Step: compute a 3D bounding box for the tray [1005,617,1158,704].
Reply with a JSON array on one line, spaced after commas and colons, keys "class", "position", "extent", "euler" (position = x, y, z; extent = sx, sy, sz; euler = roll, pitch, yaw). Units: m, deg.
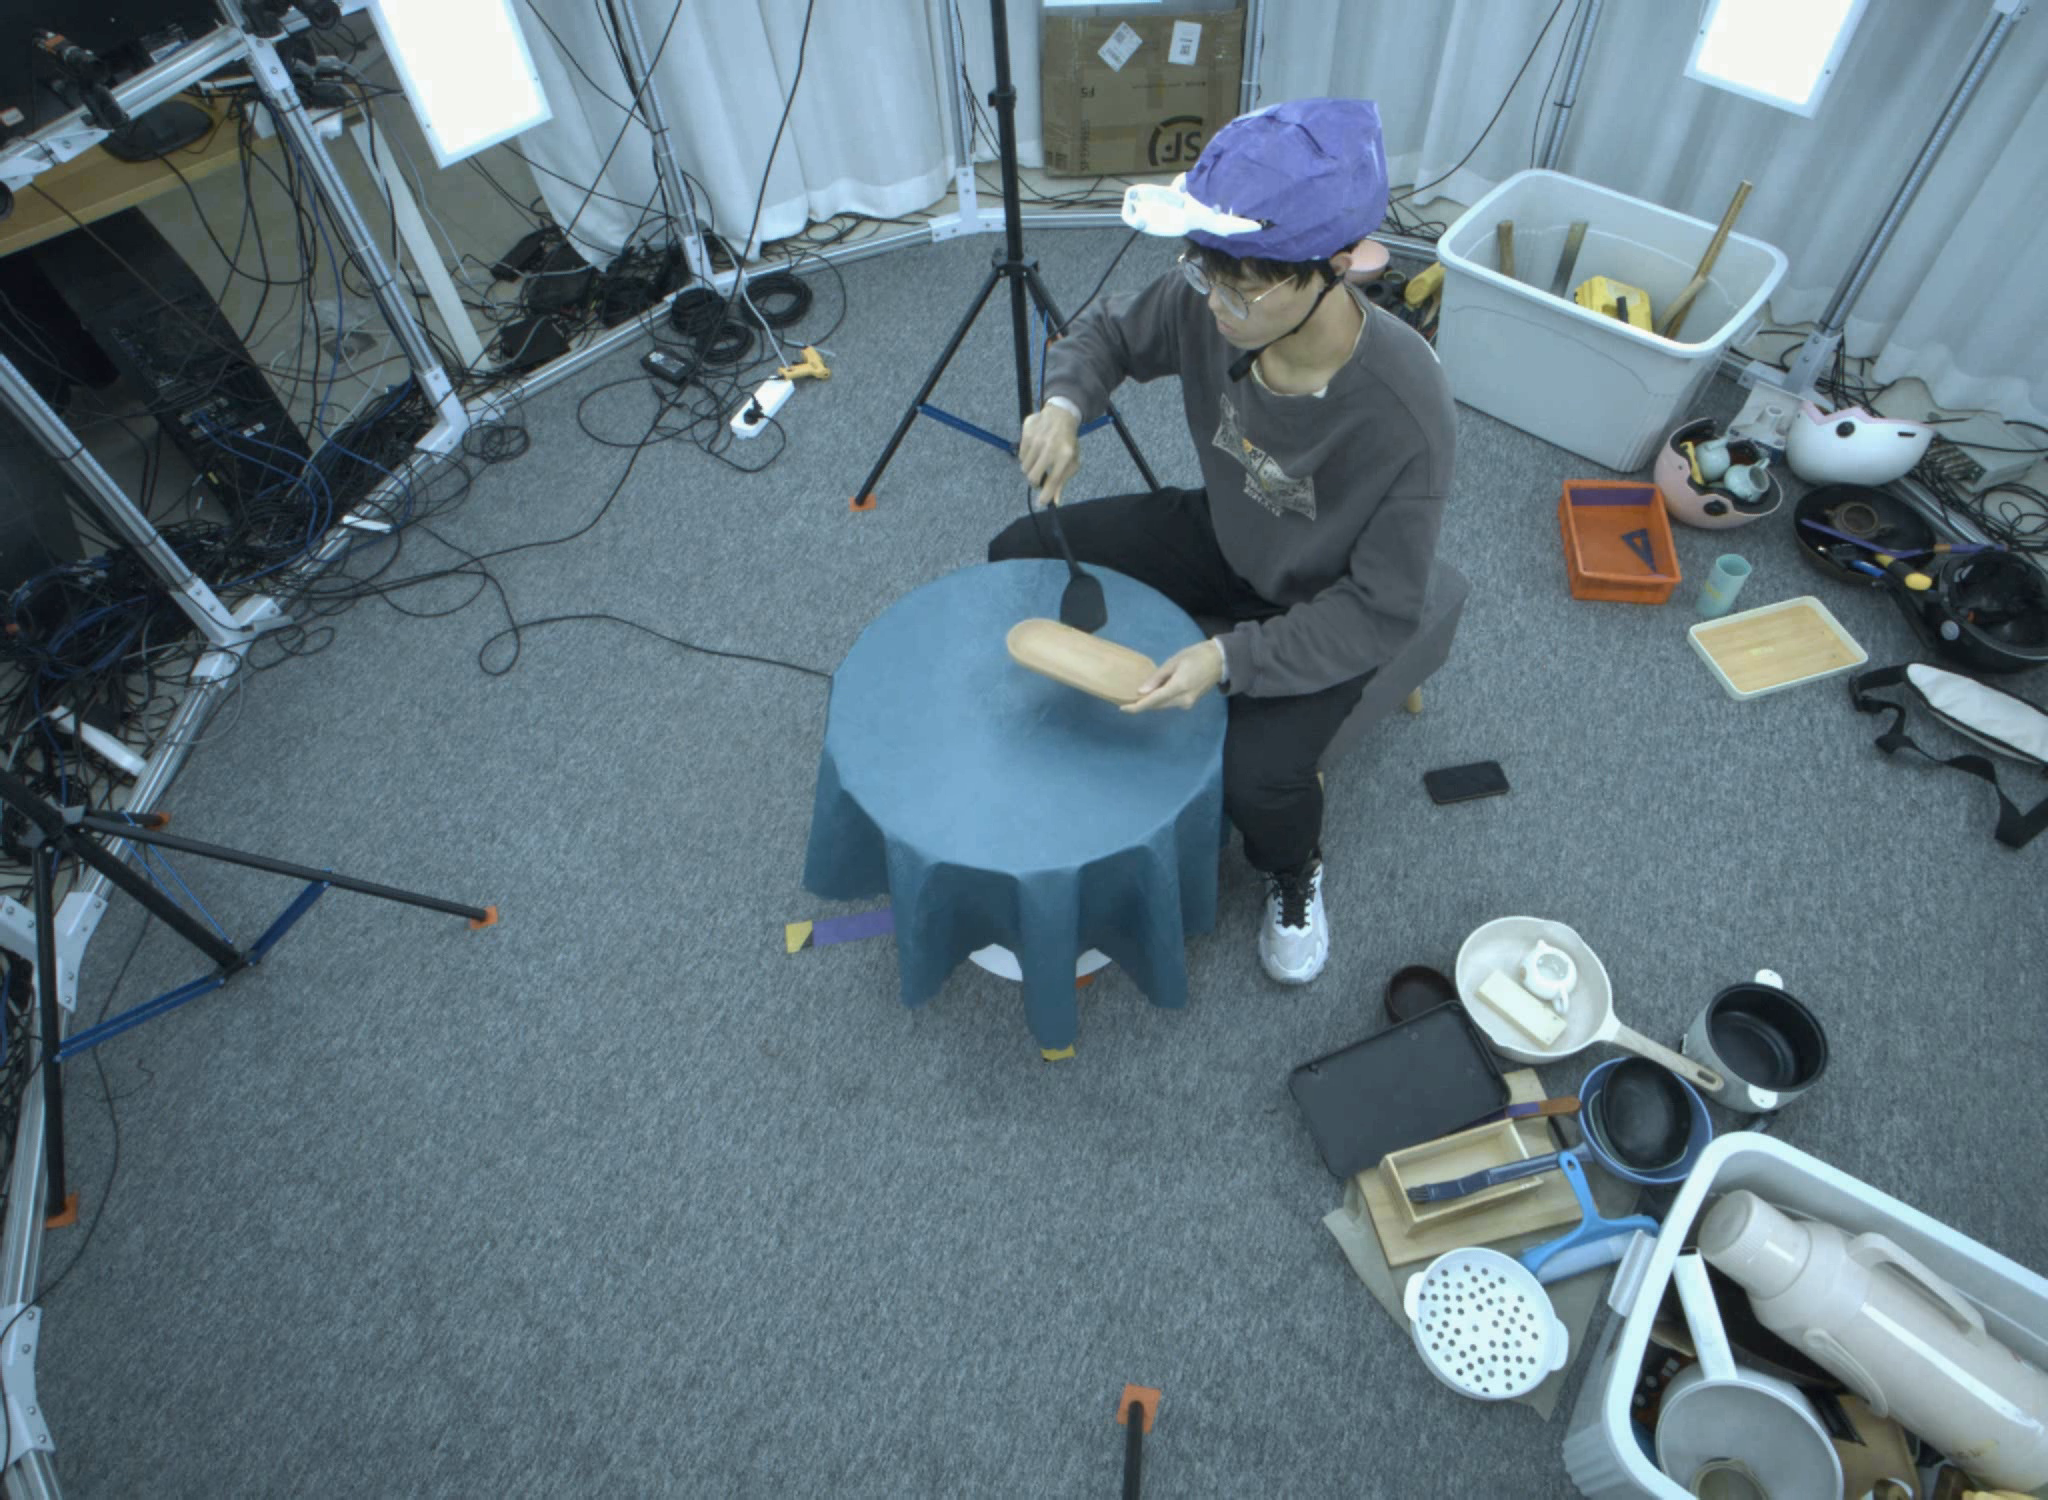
[{"class": "tray", "position": [0.080, -0.128, 1.752], "extent": [0.228, 0.020, 0.102], "euler": [22, 49, 14]}]

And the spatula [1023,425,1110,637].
[{"class": "spatula", "position": [0.047, -0.323, 1.788], "extent": [0.041, 0.098, 0.327], "euler": [-24, 96, -46]}]
